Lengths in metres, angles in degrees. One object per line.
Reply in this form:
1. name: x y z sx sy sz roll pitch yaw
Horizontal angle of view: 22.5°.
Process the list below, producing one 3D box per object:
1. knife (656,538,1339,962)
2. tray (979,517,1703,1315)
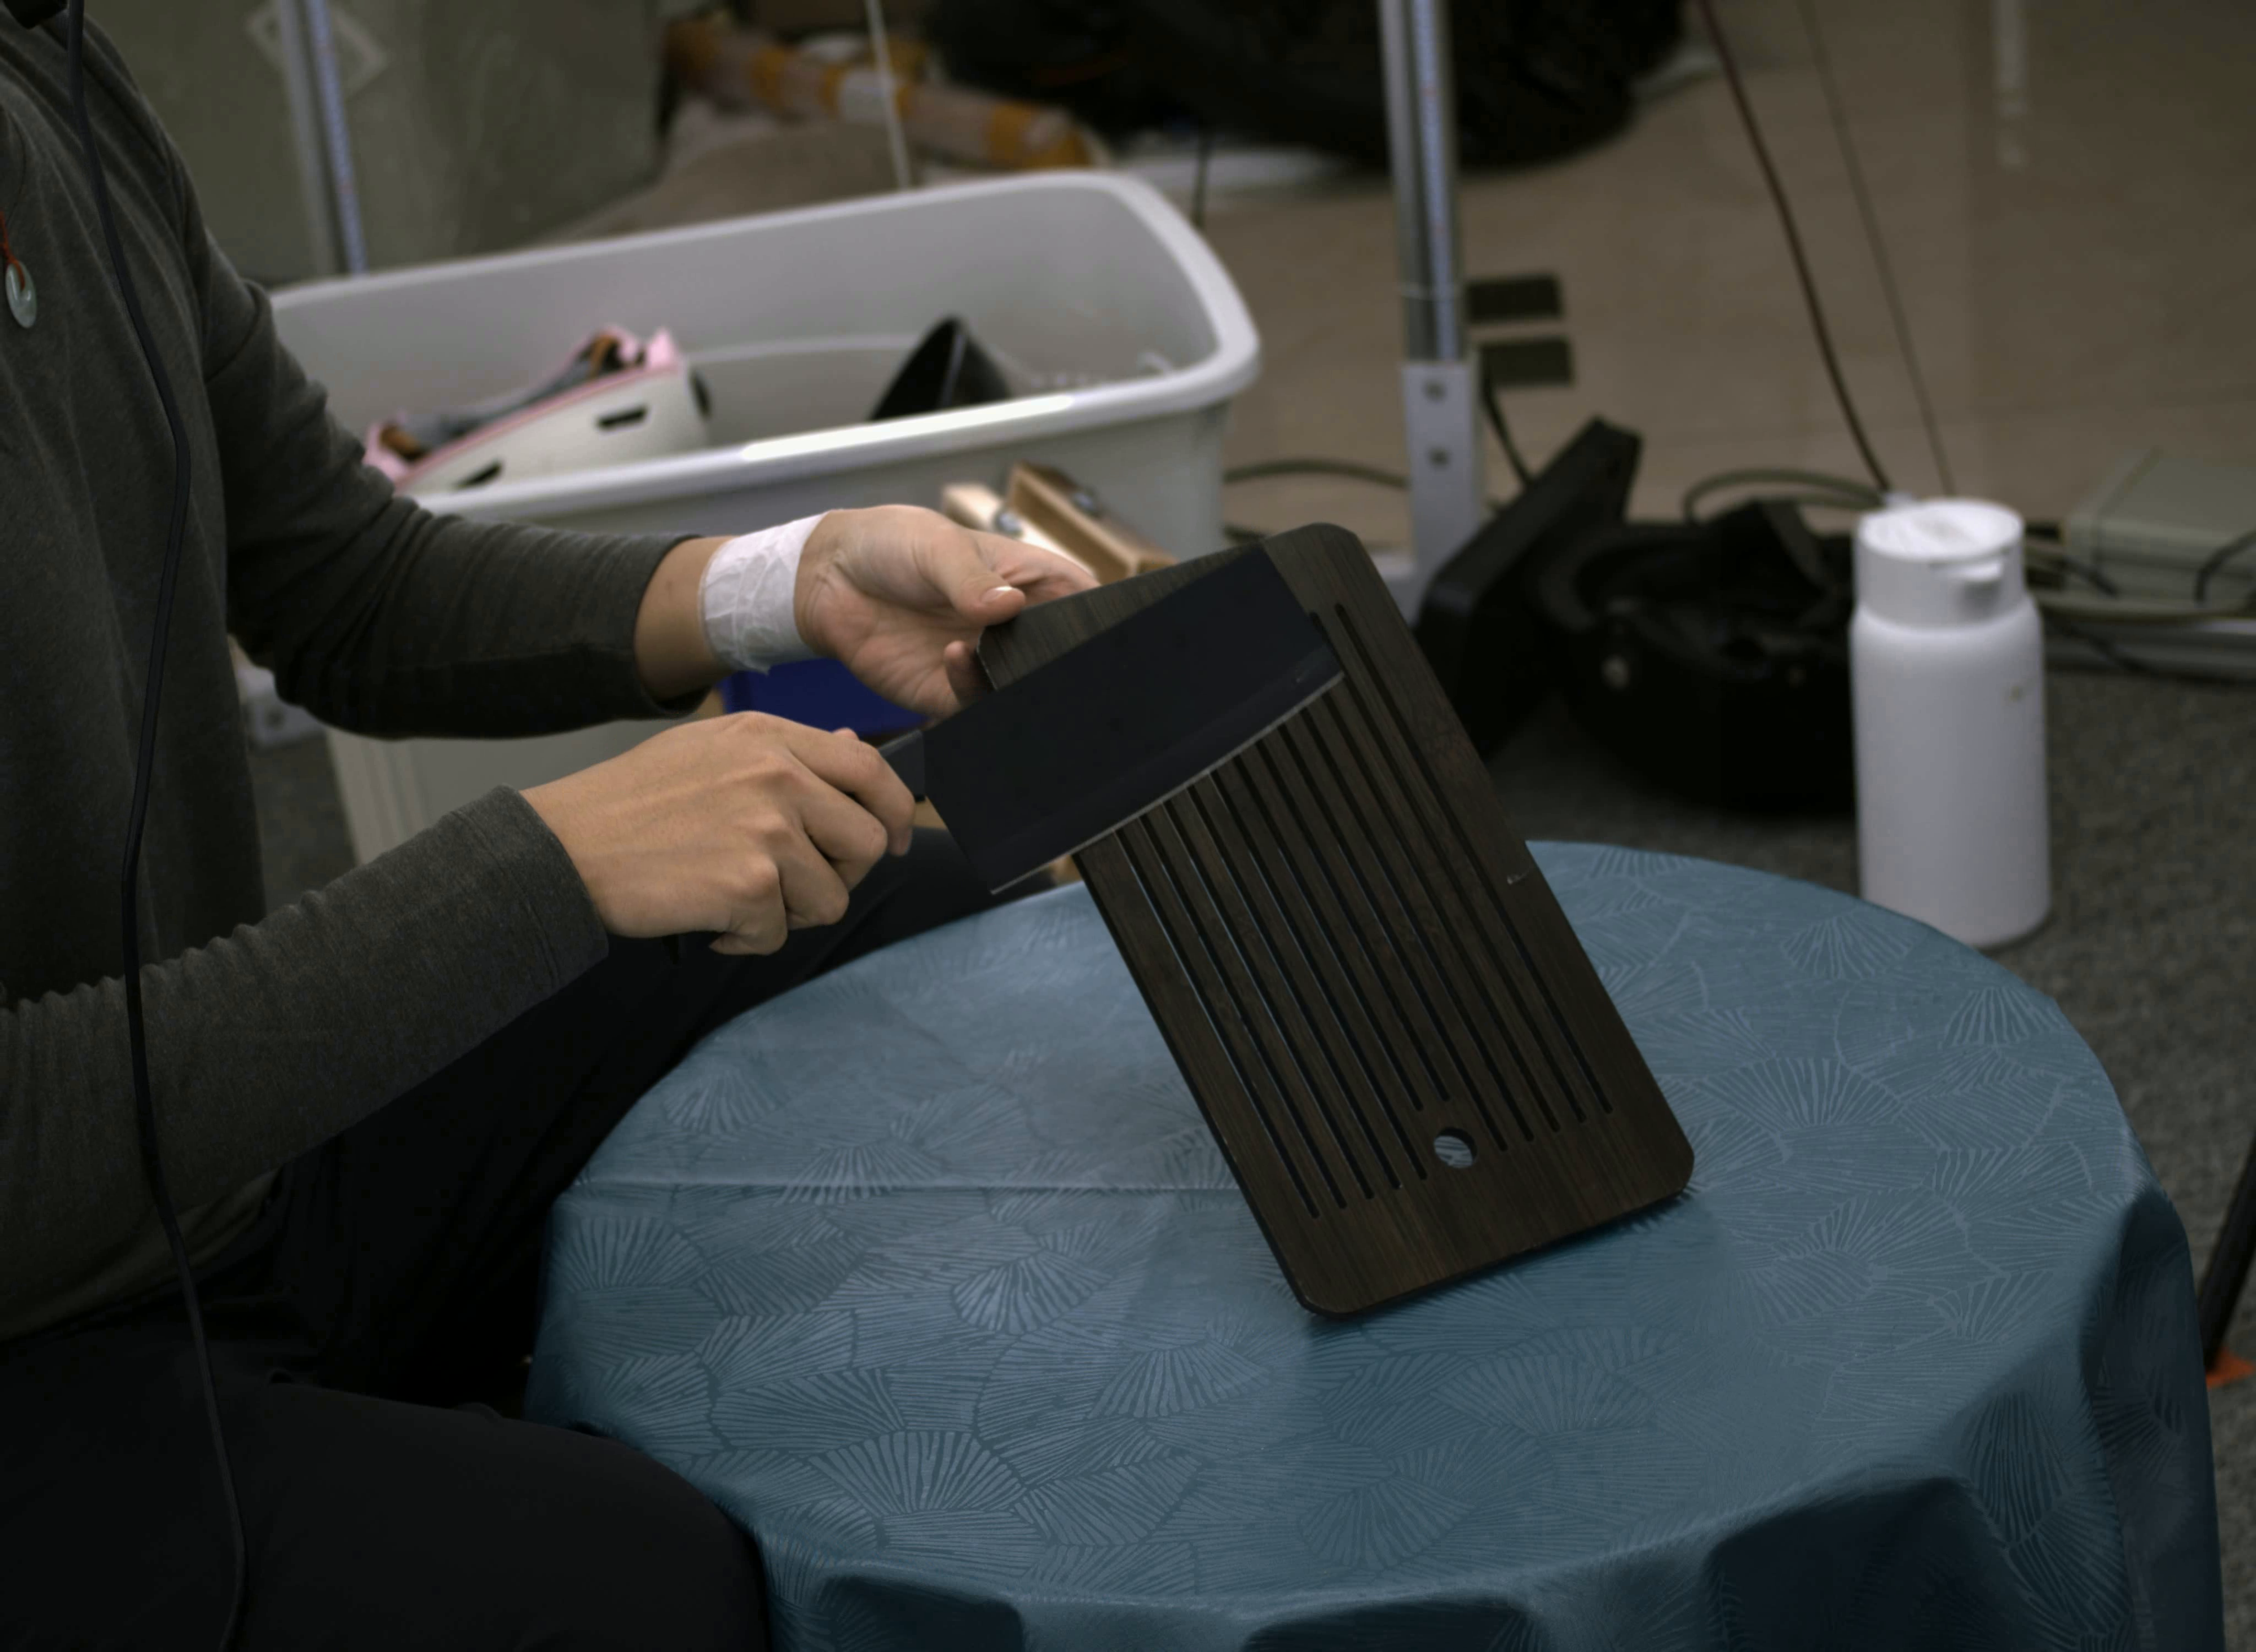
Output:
1. knife: -0.048 -0.021 2.093 0.300 0.081 0.021 -26 -6 -28
2. tray: 0.077 0.030 2.123 0.169 0.019 0.303 -19 69 -22
